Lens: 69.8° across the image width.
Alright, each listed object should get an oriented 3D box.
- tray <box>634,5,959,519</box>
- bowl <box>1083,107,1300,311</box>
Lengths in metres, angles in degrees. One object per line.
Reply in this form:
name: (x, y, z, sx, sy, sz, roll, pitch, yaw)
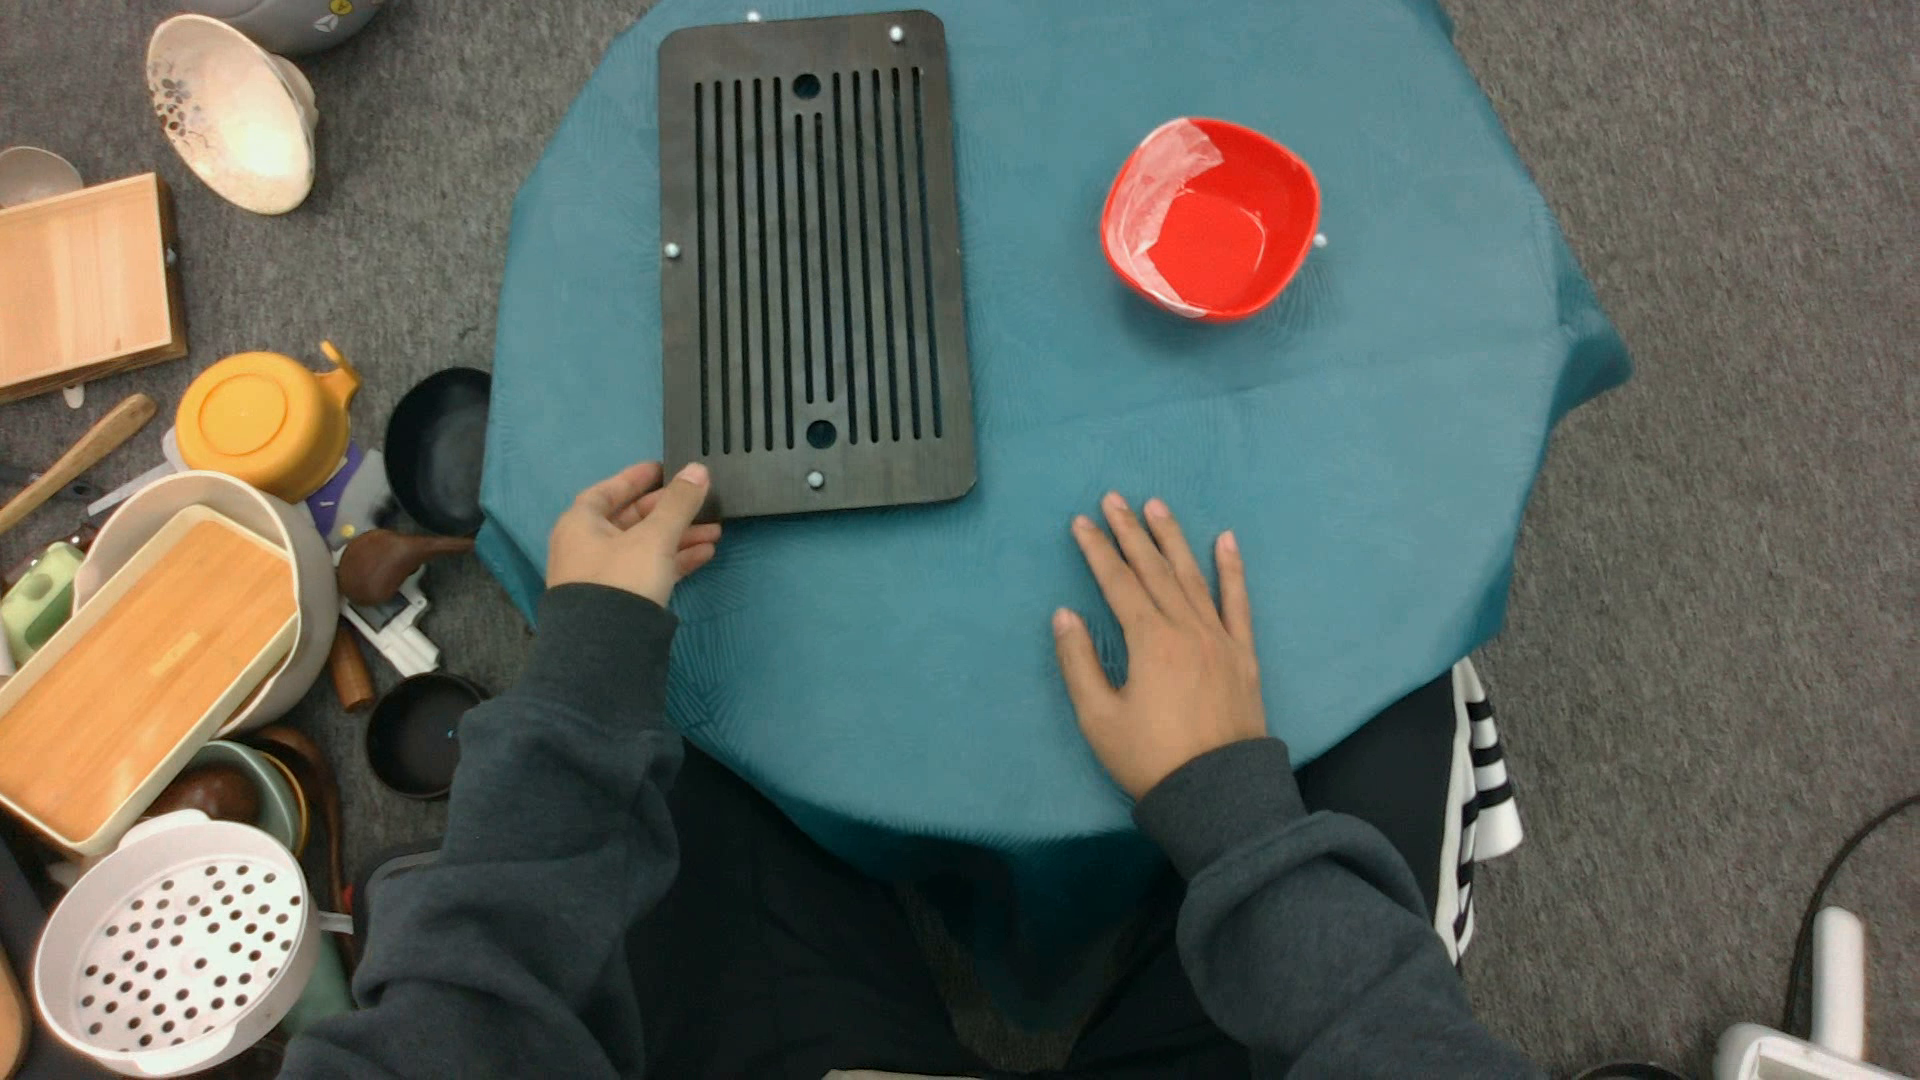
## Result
tray: (-0.096, -0.163, 0.781, 0.170, 0.018, 0.306, -5, 75, 0)
bowl: (0.125, -0.174, 0.759, 0.119, 0.051, 0.119, 0, 75, 1)
